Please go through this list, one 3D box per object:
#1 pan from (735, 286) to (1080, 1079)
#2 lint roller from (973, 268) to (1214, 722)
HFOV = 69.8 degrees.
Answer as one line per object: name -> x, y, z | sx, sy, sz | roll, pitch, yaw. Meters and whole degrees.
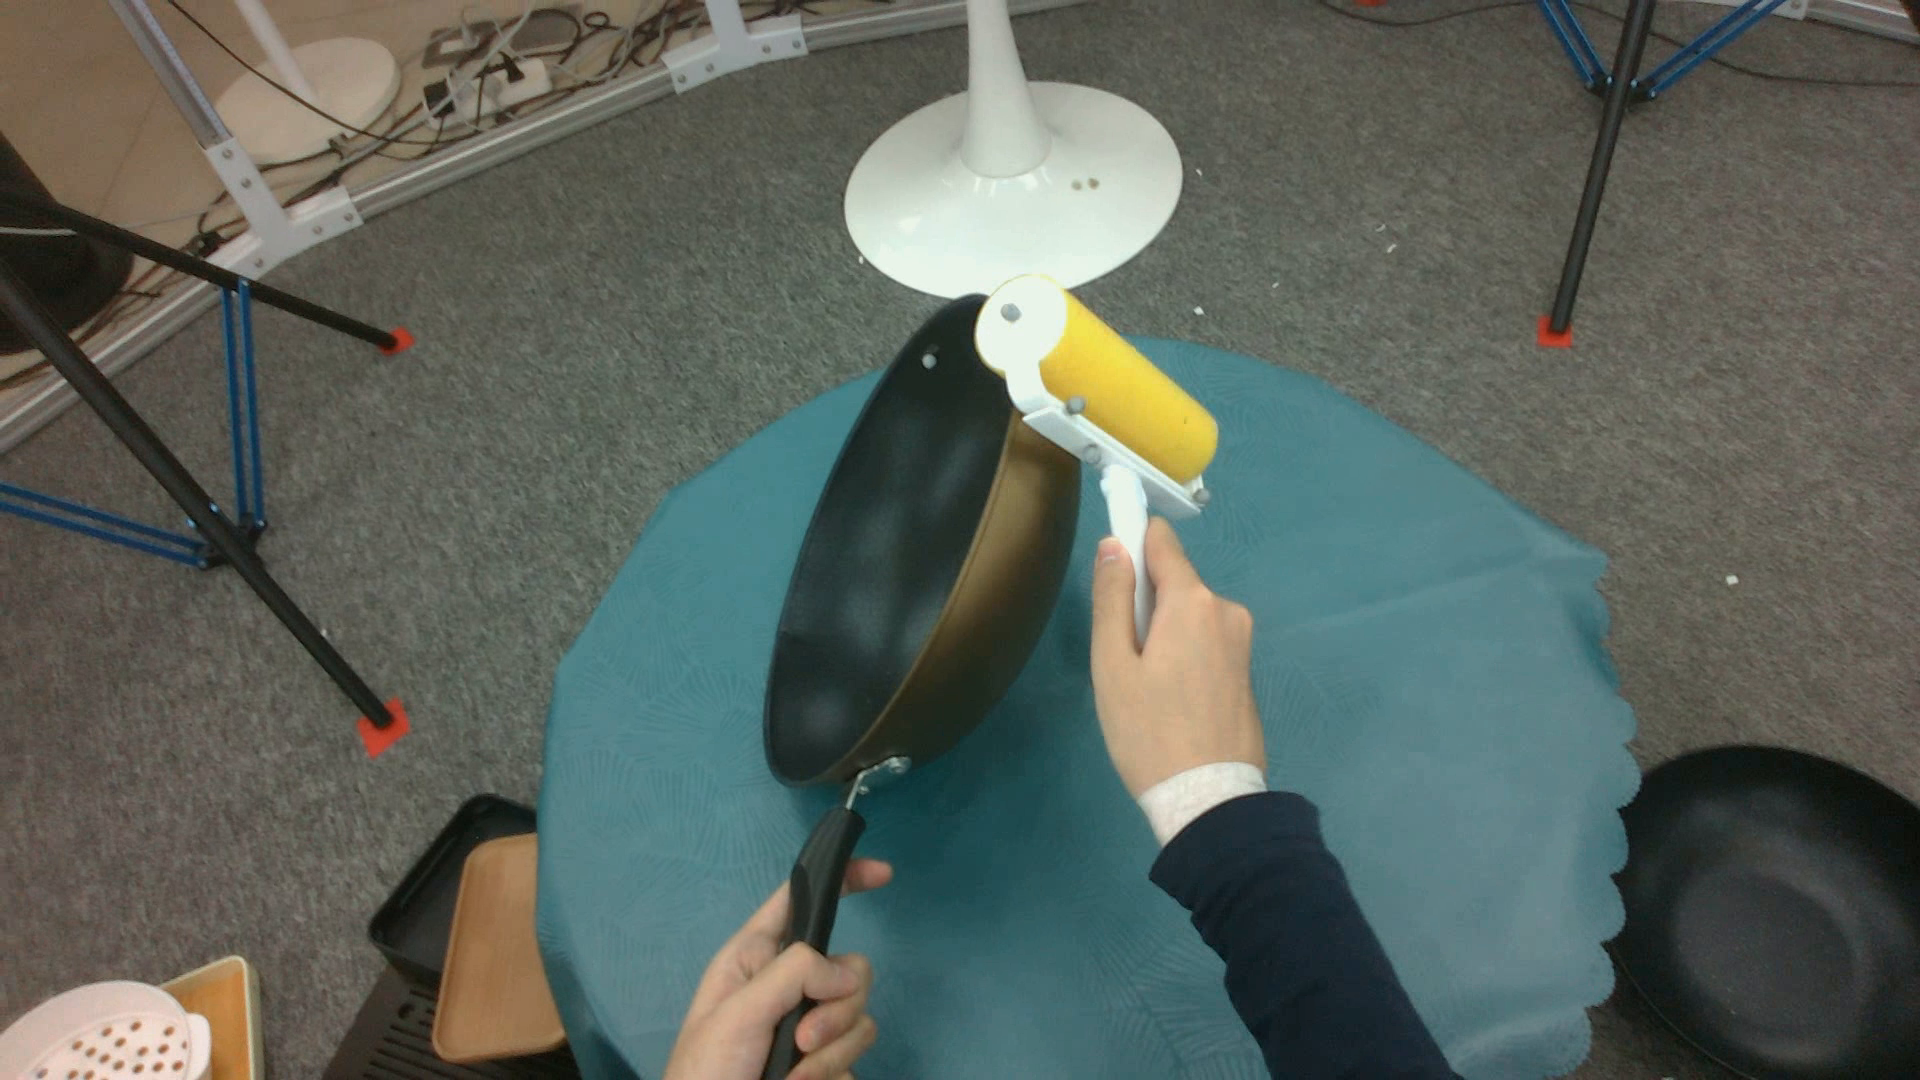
pan -> -0.028, 0.084, 0.699 | 0.087, 0.286, 0.465 | 23, 56, -21
lint roller -> 0.085, -0.014, 0.634 | 0.051, 0.174, 0.192 | -29, 61, 24
